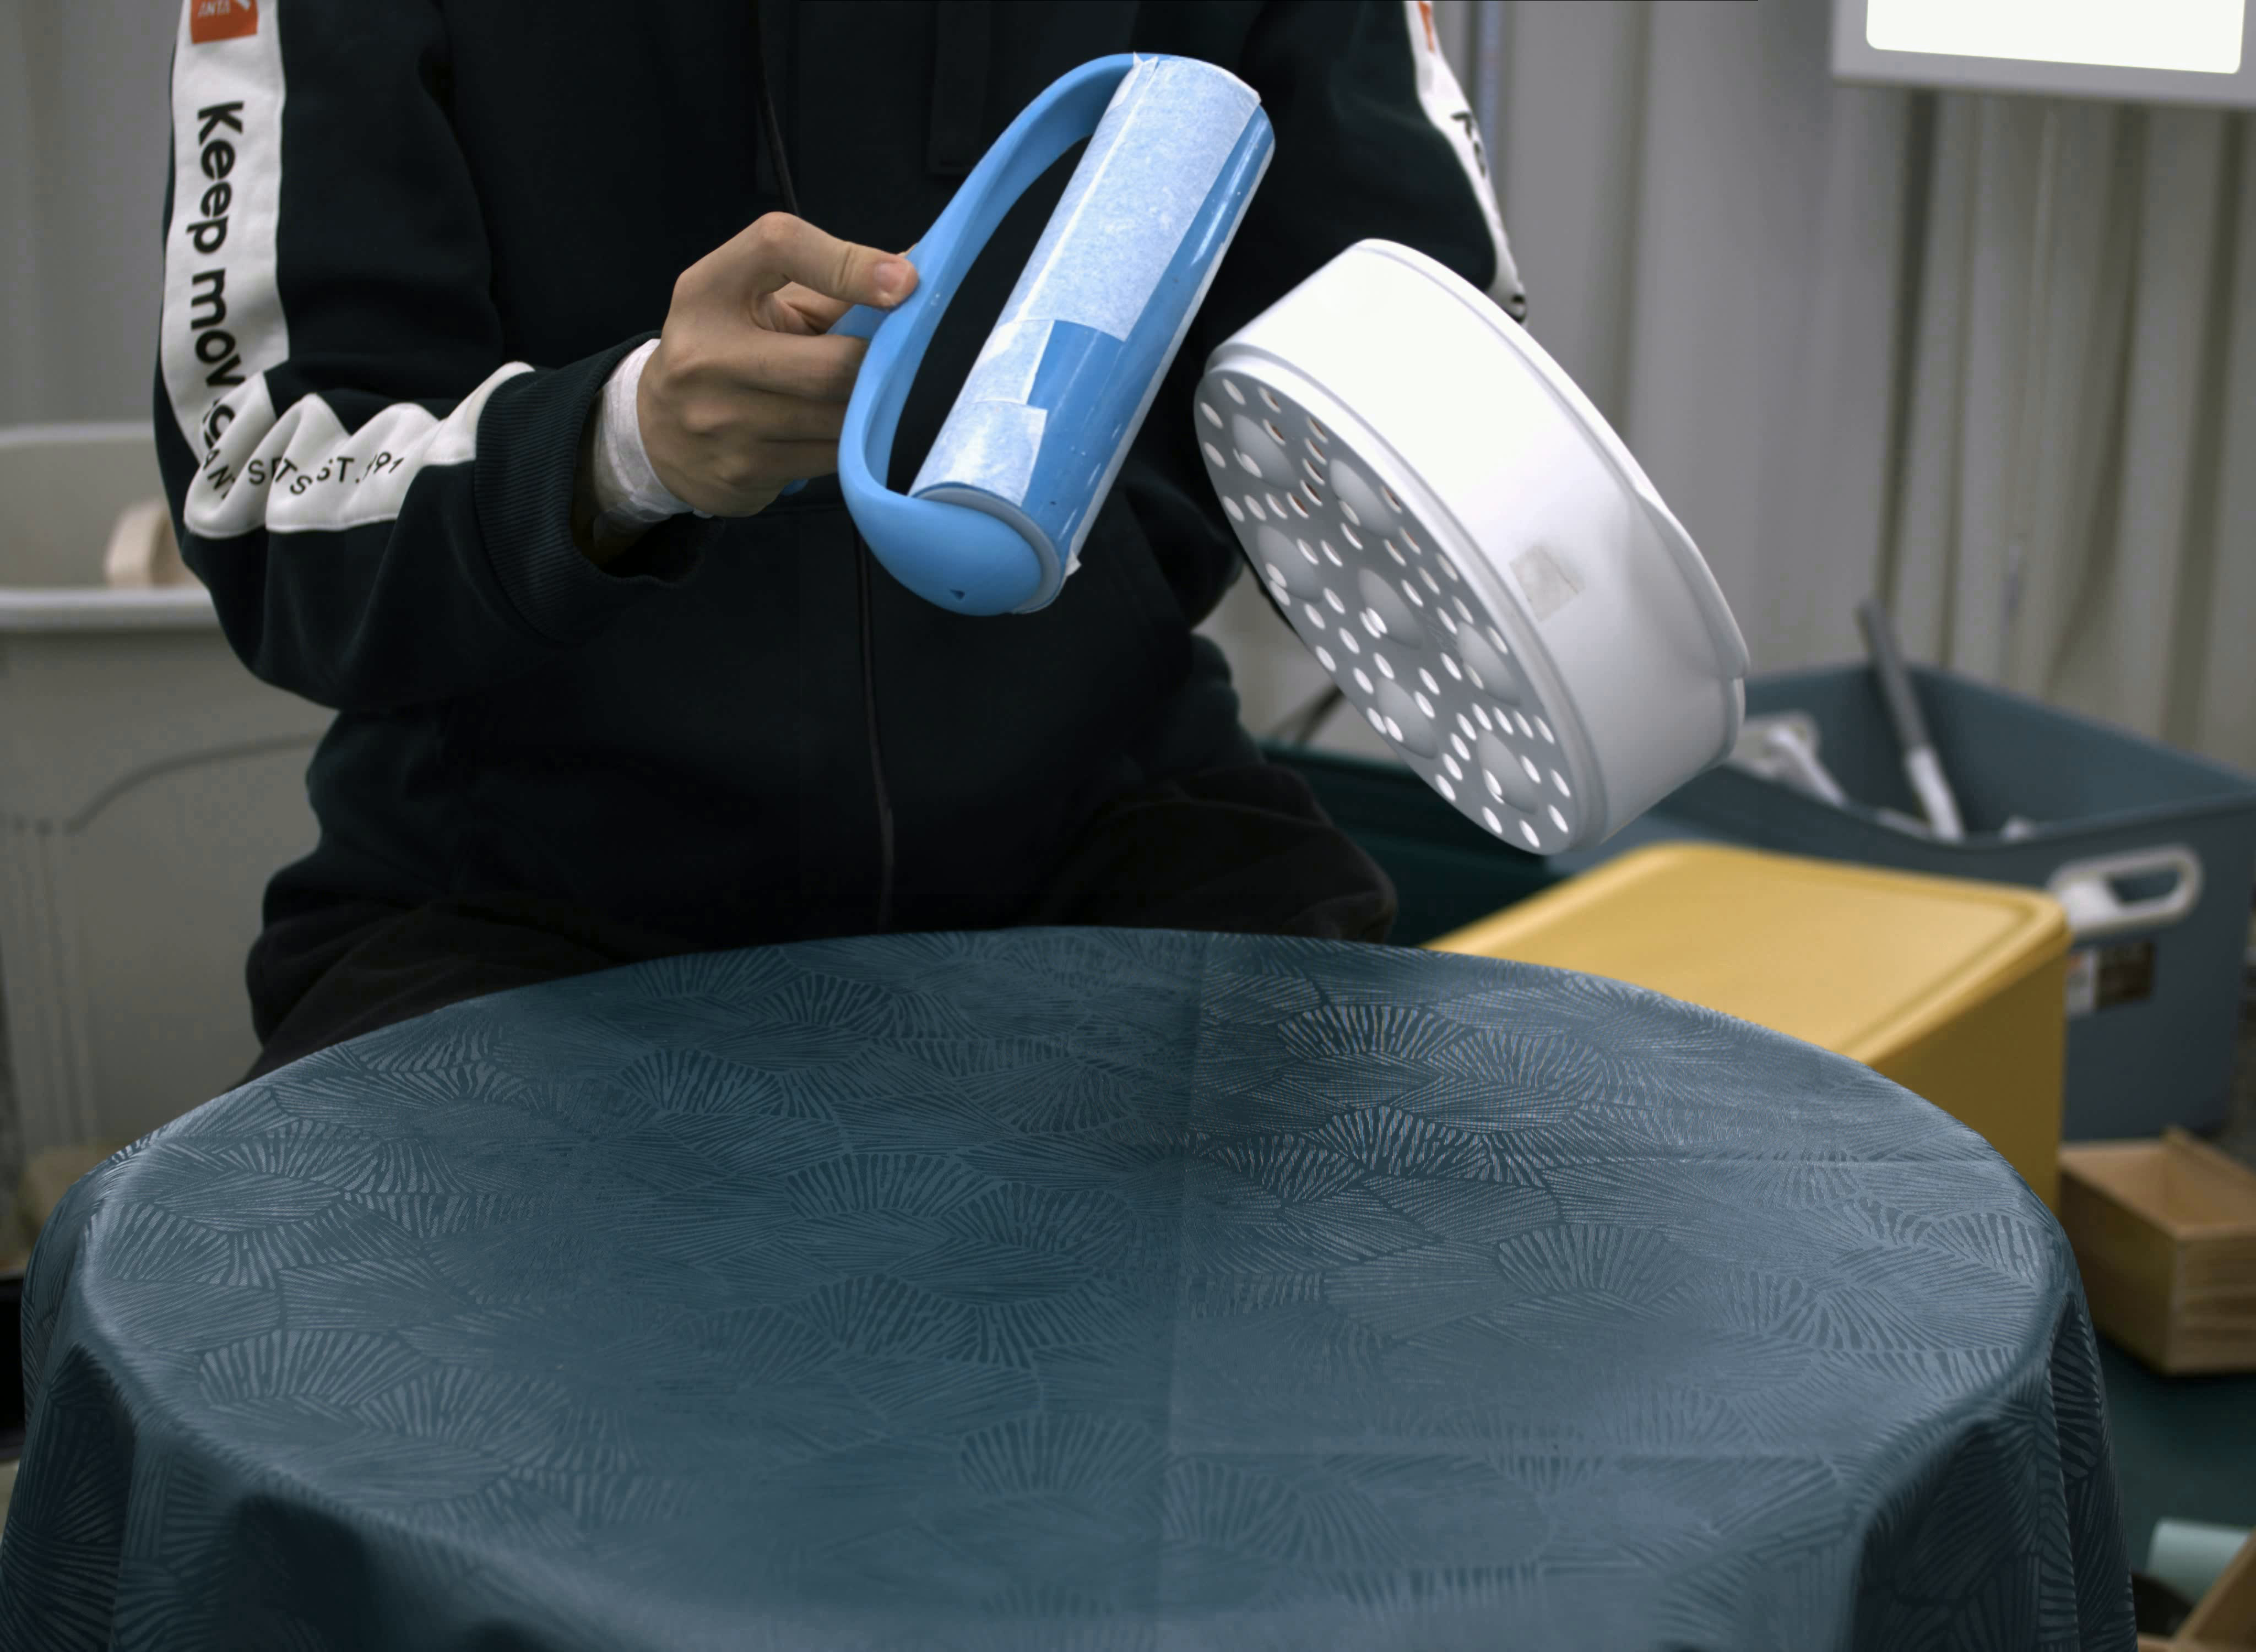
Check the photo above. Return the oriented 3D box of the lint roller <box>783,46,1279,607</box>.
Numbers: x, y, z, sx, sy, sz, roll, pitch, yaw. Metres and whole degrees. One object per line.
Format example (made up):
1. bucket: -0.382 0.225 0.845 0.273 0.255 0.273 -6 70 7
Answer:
1. lint roller: -0.054 -0.142 1.633 0.179 0.069 0.228 -15 41 36

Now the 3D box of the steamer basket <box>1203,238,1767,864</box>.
1. steamer basket: 0.103 -0.080 1.620 0.069 0.204 0.227 -37 30 -15
